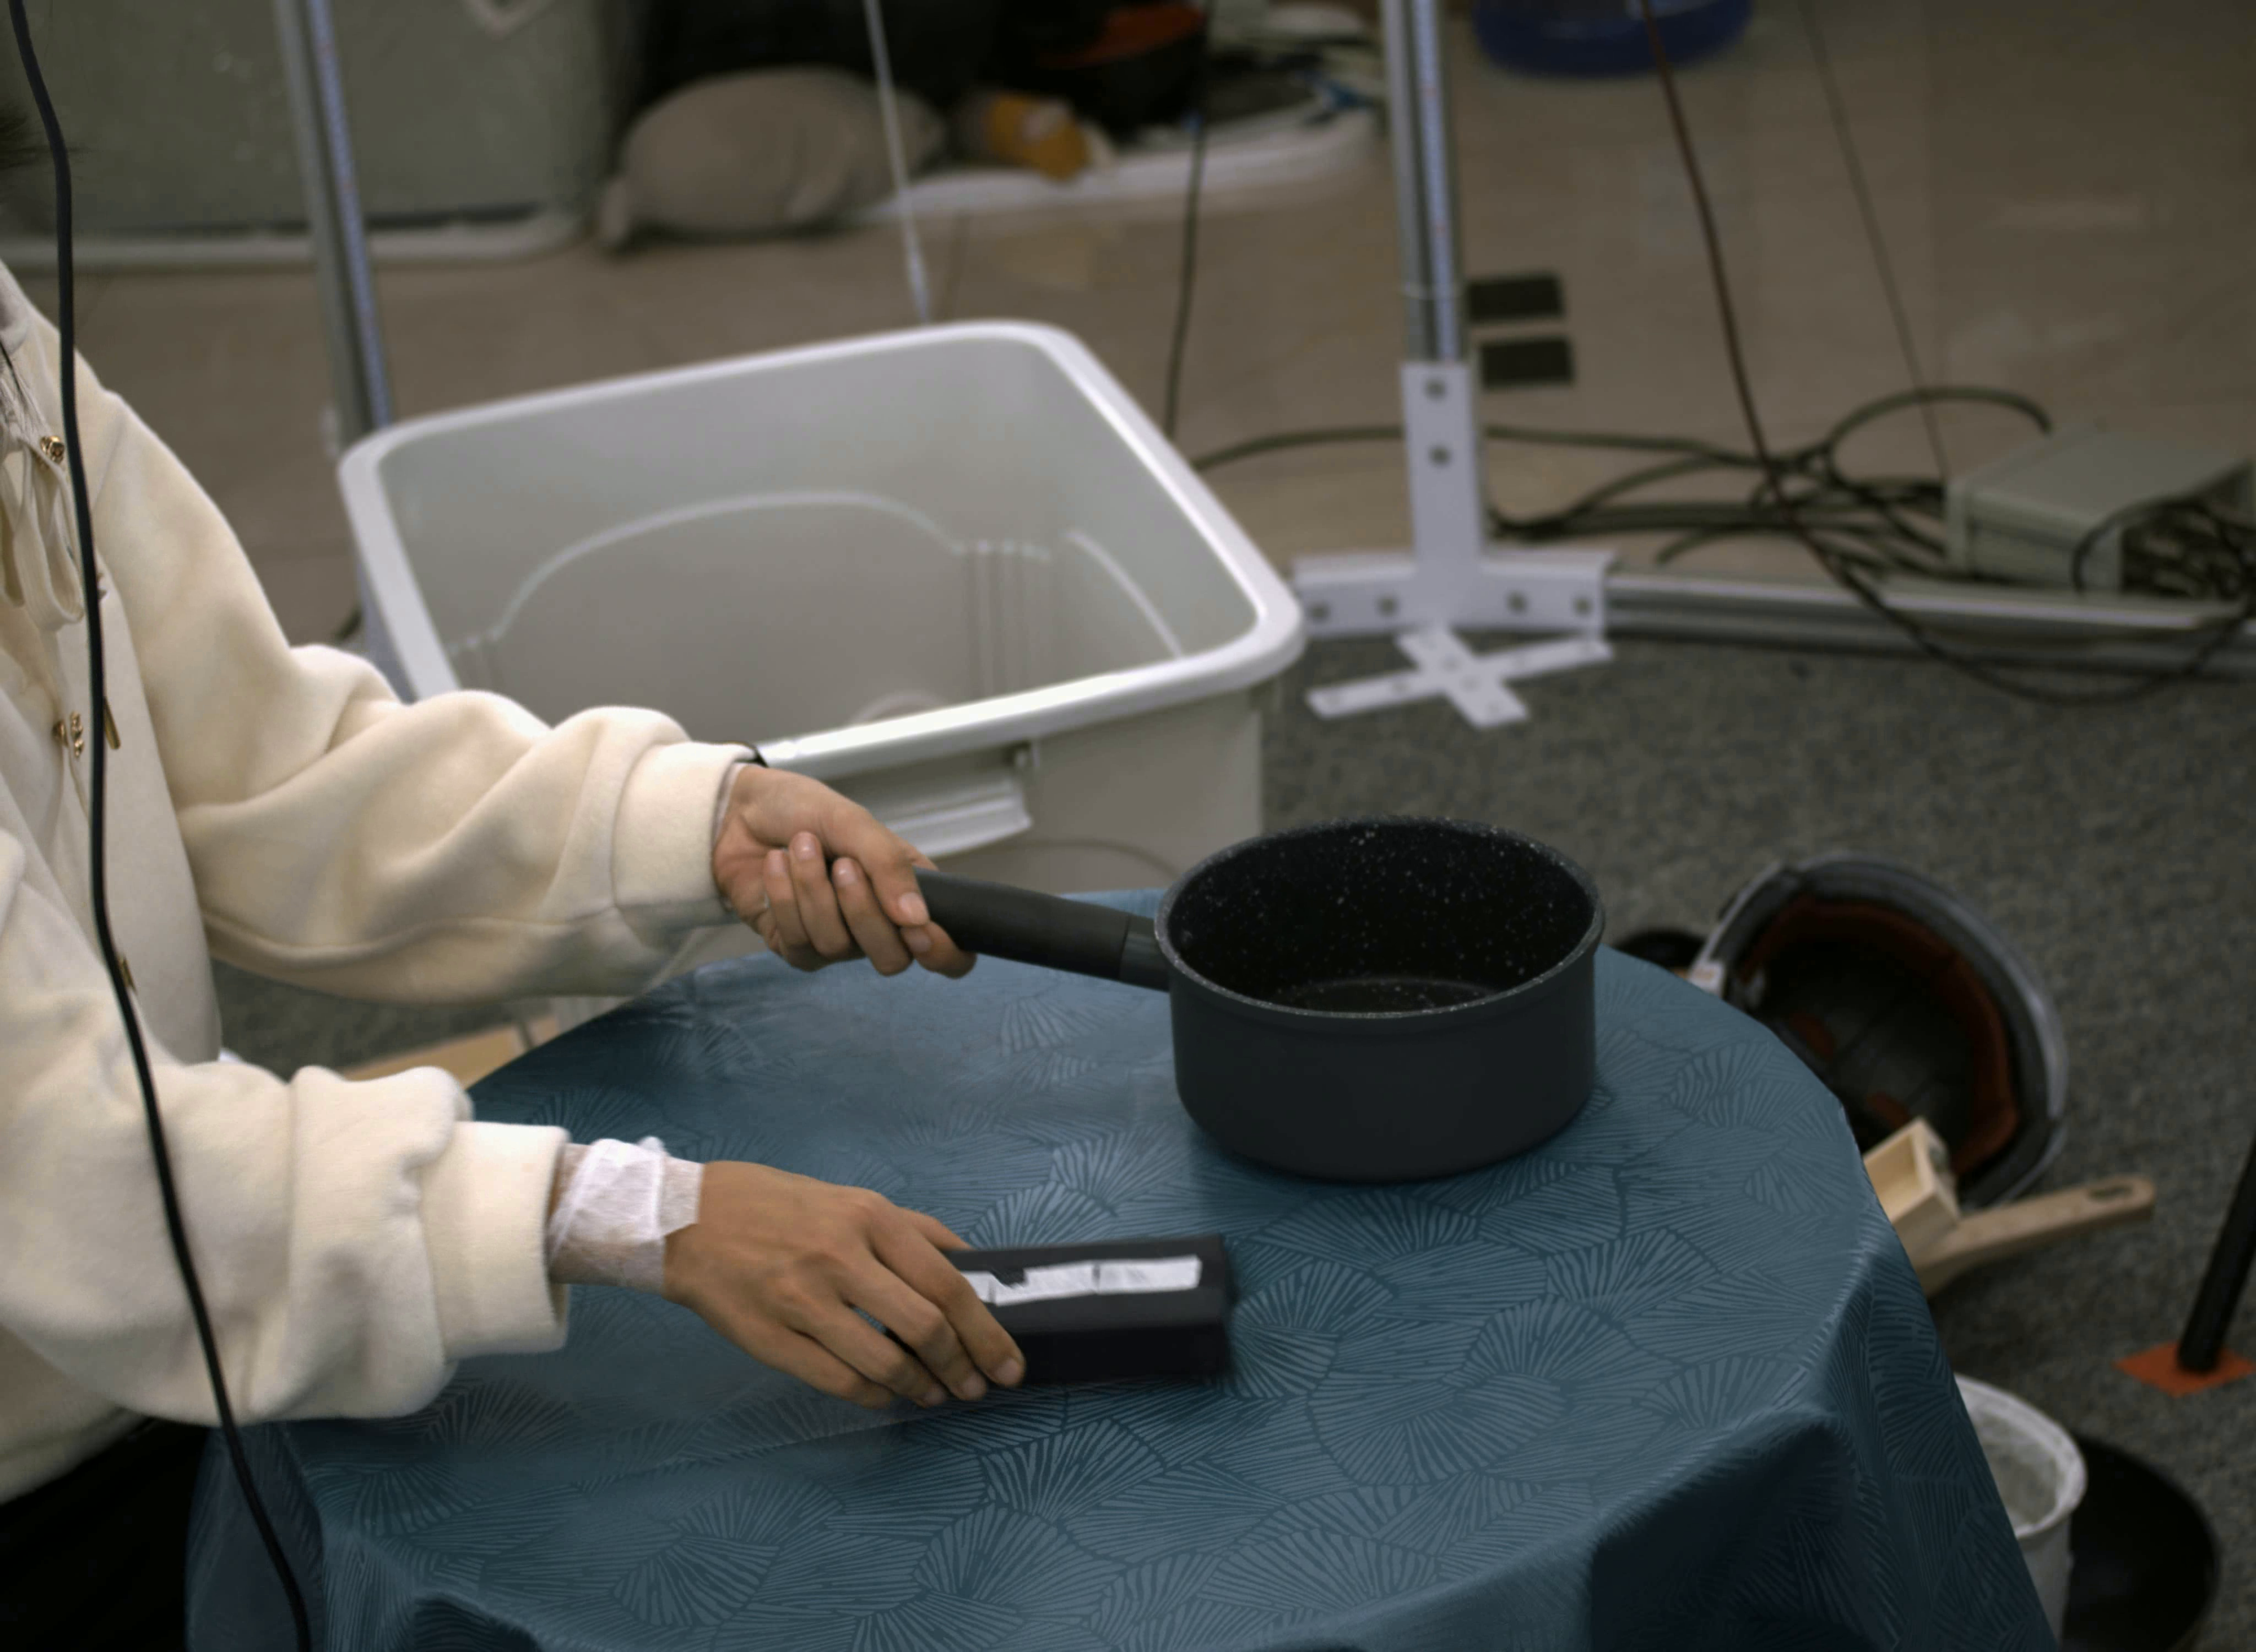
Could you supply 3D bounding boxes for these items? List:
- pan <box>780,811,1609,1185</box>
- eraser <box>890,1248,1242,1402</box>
[{"bbox_3d":[0.023,0.058,2.199,0.328,0.088,0.169,6,28,15],"label":"pan"},{"bbox_3d":[-0.020,0.177,2.024,0.125,0.031,0.052,-4,33,6],"label":"eraser"}]
